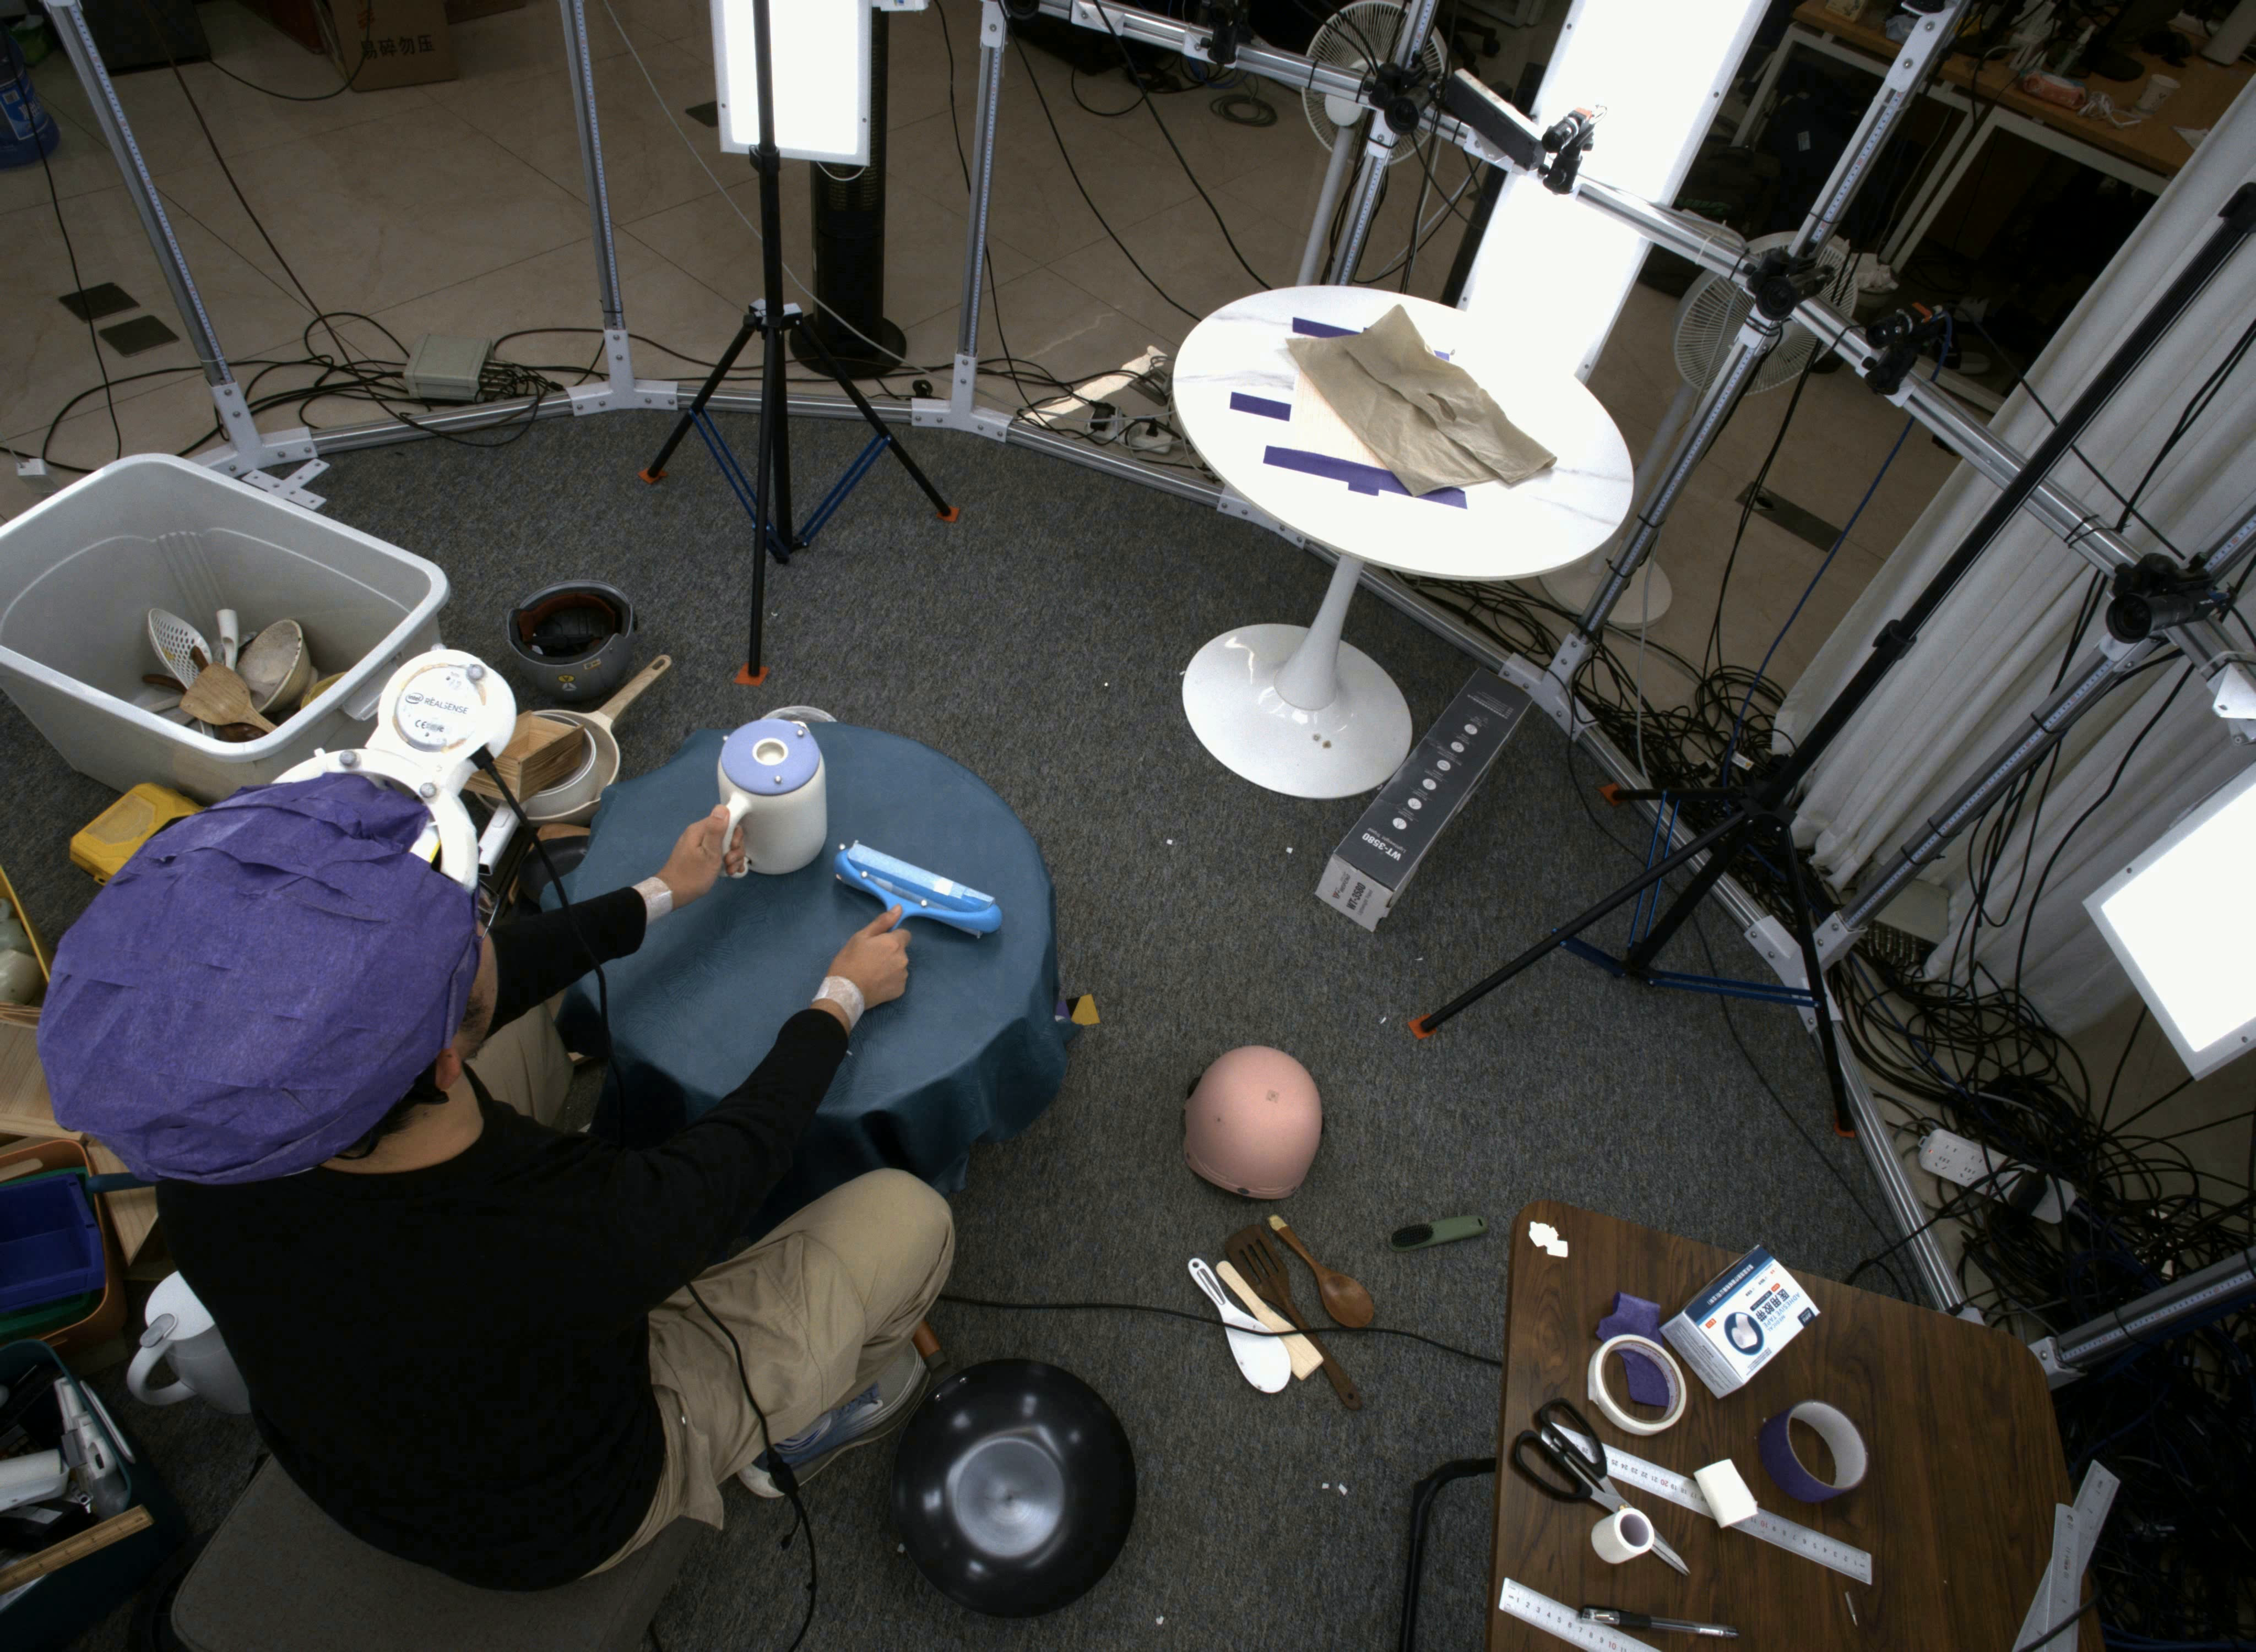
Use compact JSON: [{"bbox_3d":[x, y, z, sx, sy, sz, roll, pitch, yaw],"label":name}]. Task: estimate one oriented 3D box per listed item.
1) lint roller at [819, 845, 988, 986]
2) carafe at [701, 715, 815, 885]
[{"bbox_3d":[-0.300,0.116,1.619,0.227,0.069,0.178,21,40,-2],"label":"lint roller"},{"bbox_3d":[-0.473,-0.020,1.609,0.130,0.186,0.190,23,54,6],"label":"carafe"}]
